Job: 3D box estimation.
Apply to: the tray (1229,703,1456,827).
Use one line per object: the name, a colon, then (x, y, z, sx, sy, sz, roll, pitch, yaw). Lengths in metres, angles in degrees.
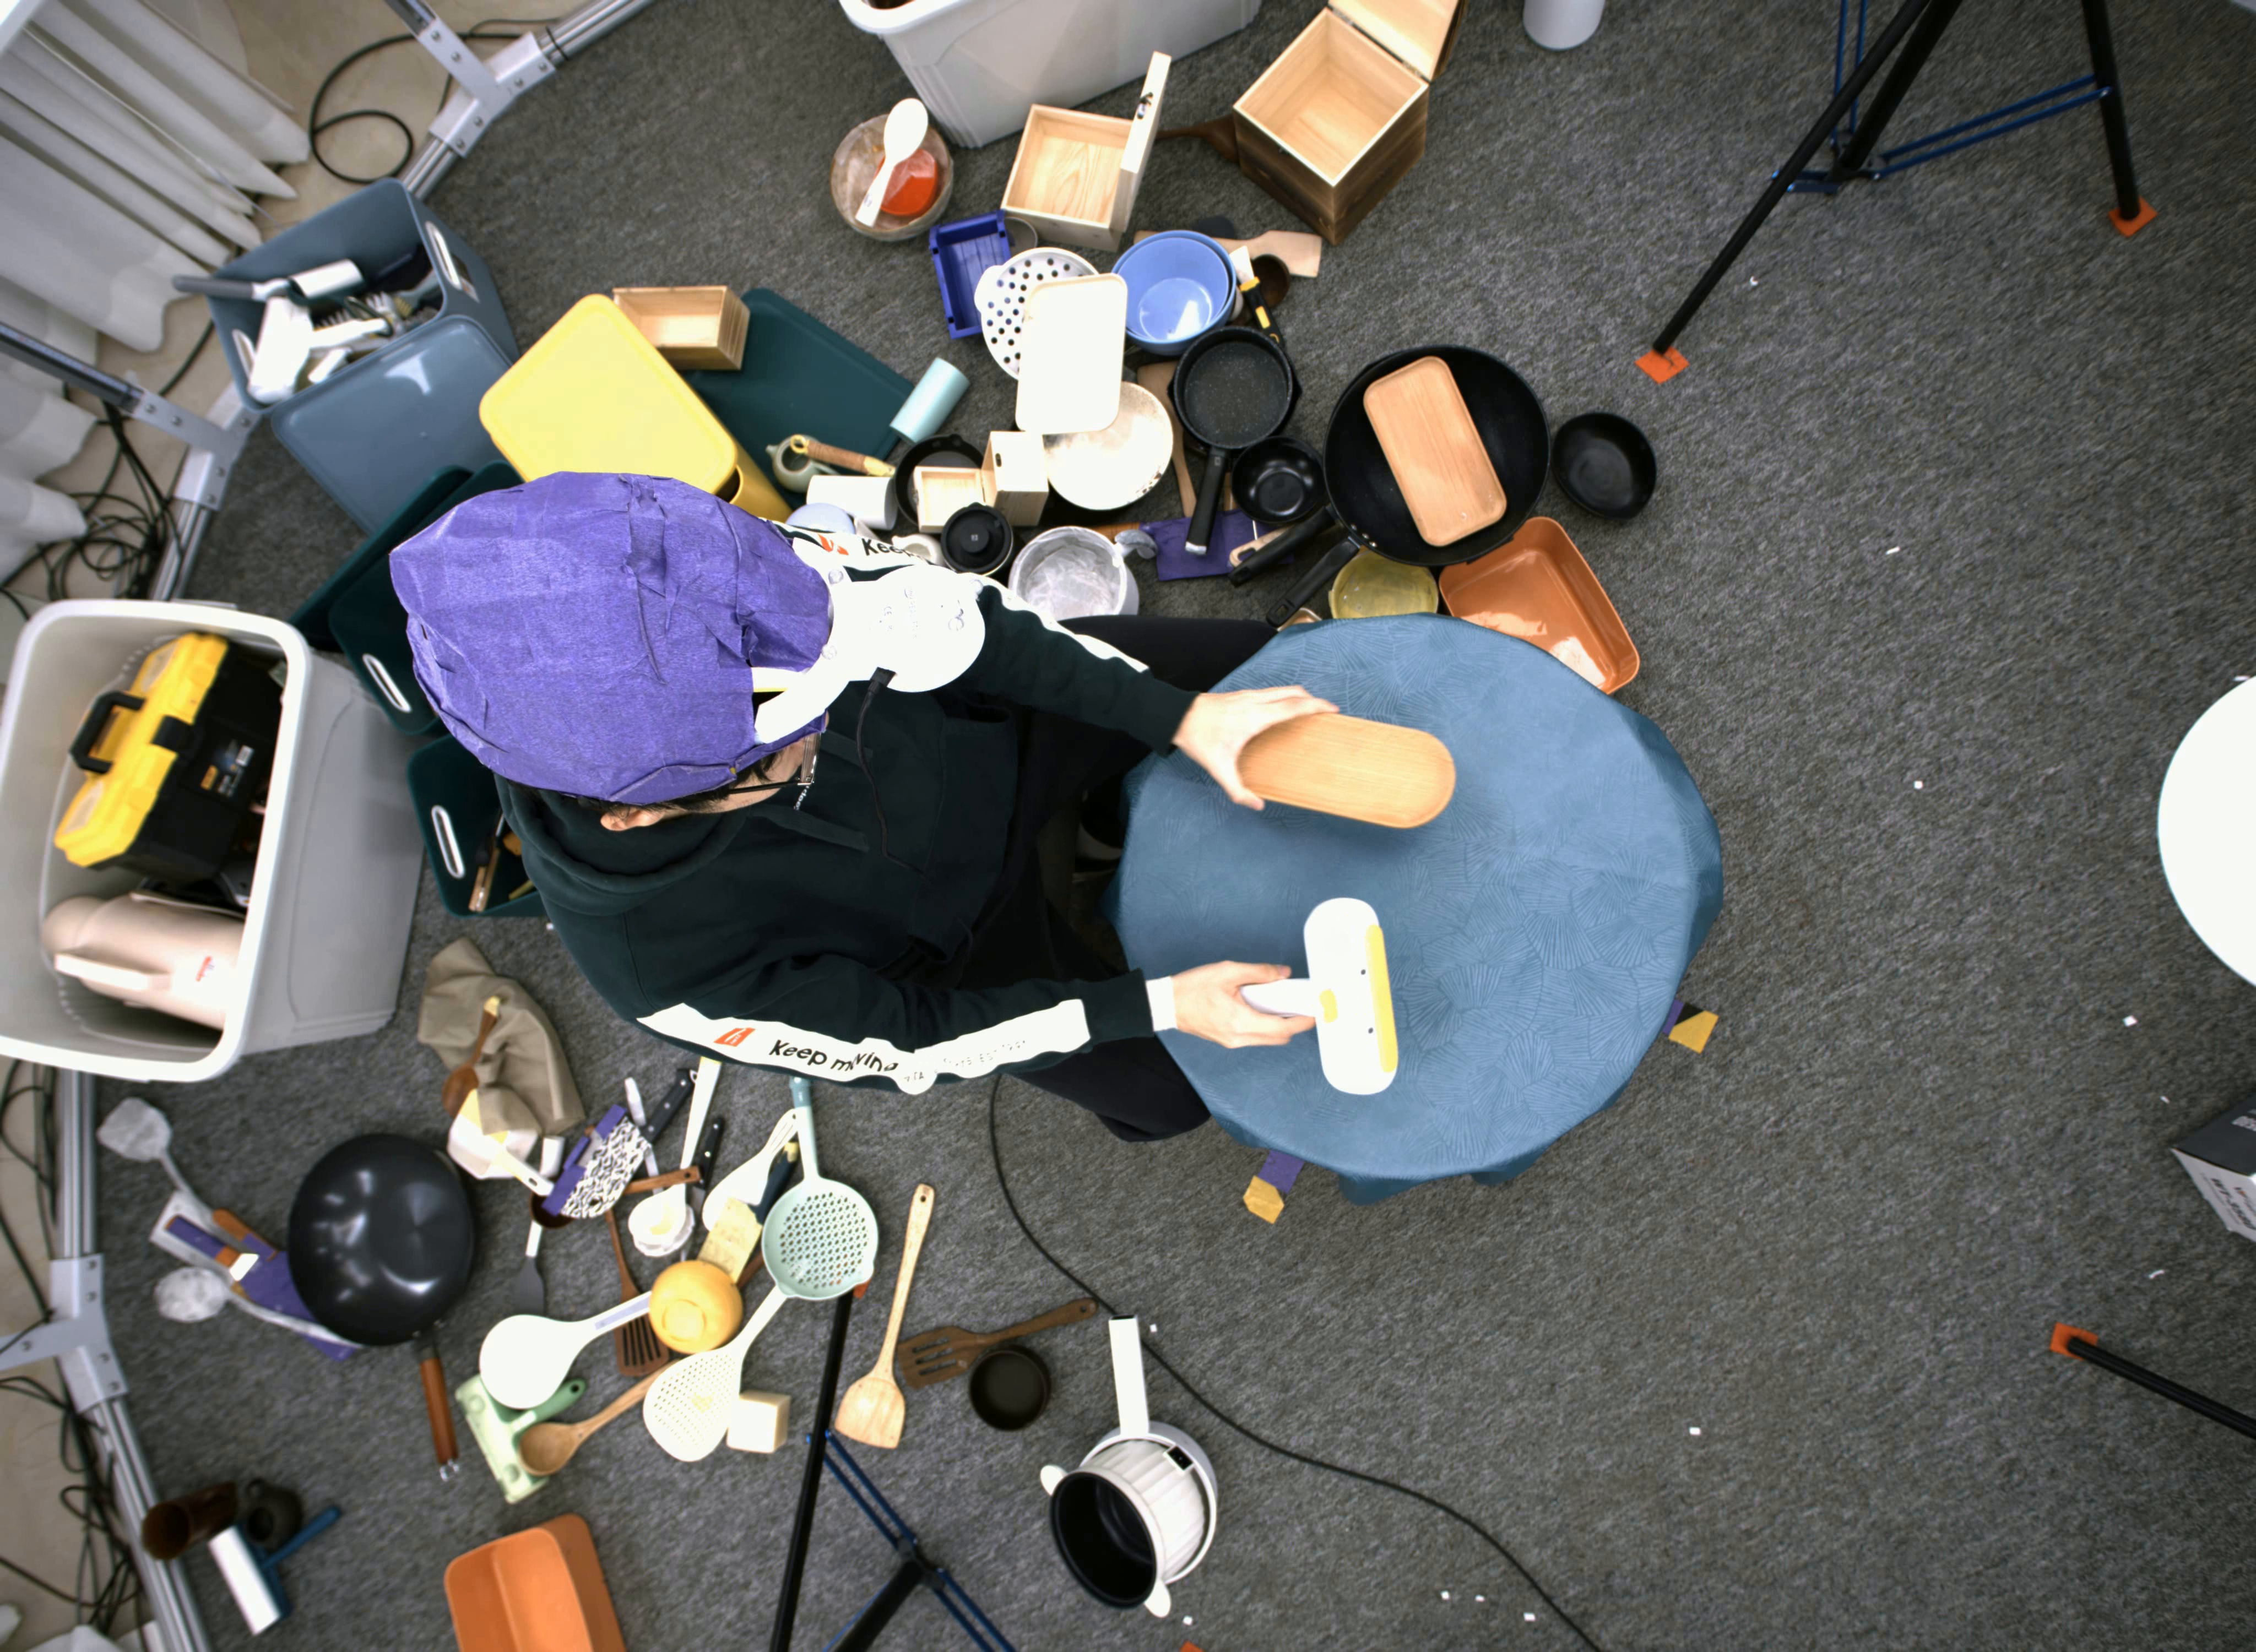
tray: (0.211, -0.062, 1.369, 0.231, 0.020, 0.101, 13, 86, 21)

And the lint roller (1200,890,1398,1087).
lint roller: (0.161, 0.165, 1.357, 0.194, 0.073, 0.194, -7, 104, 39)
